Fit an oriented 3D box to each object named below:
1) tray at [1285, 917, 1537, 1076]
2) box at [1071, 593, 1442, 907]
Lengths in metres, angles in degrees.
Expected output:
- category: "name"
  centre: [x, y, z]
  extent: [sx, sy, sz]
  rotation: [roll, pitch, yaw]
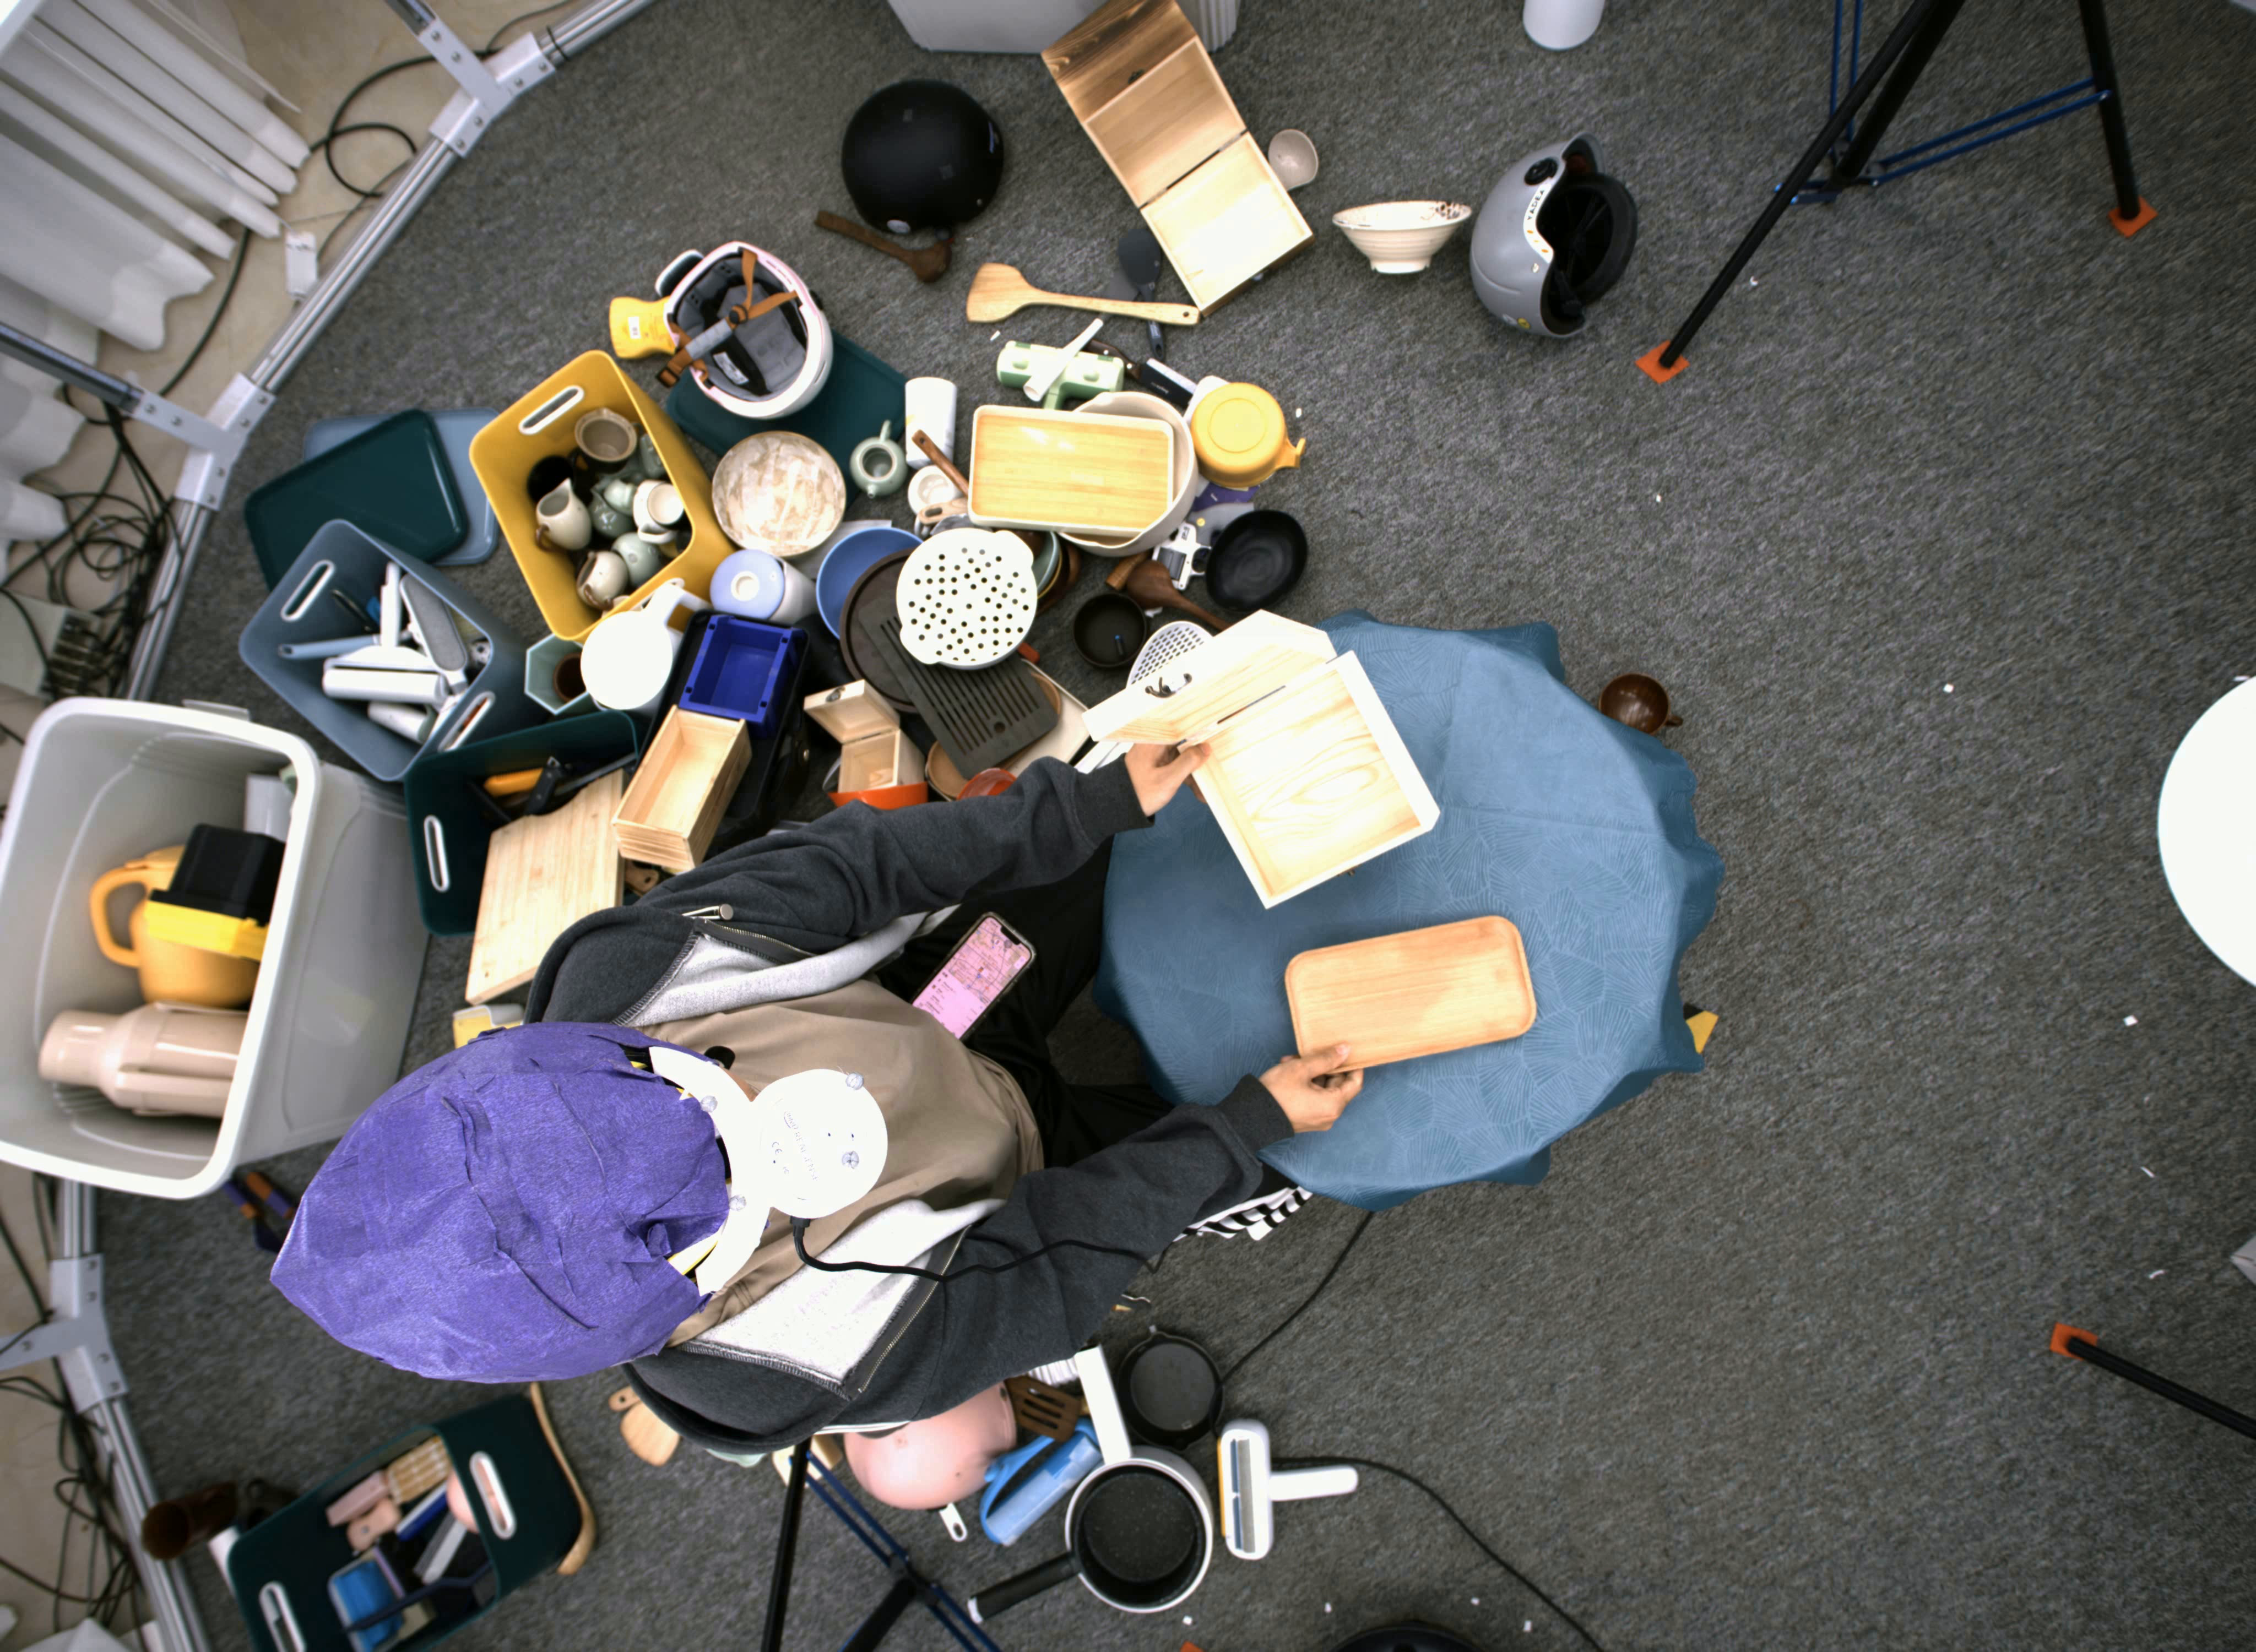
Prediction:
- category: "tray"
  centre: [0.290, 0.173, 1.419]
  extent: [0.251, 0.023, 0.129]
  rotation: [-10, 82, -1]
- category: "box"
  centre: [0.129, -0.059, 1.256]
  extent: [0.184, 0.249, 0.265]
  rotation: [-29, 92, 25]
